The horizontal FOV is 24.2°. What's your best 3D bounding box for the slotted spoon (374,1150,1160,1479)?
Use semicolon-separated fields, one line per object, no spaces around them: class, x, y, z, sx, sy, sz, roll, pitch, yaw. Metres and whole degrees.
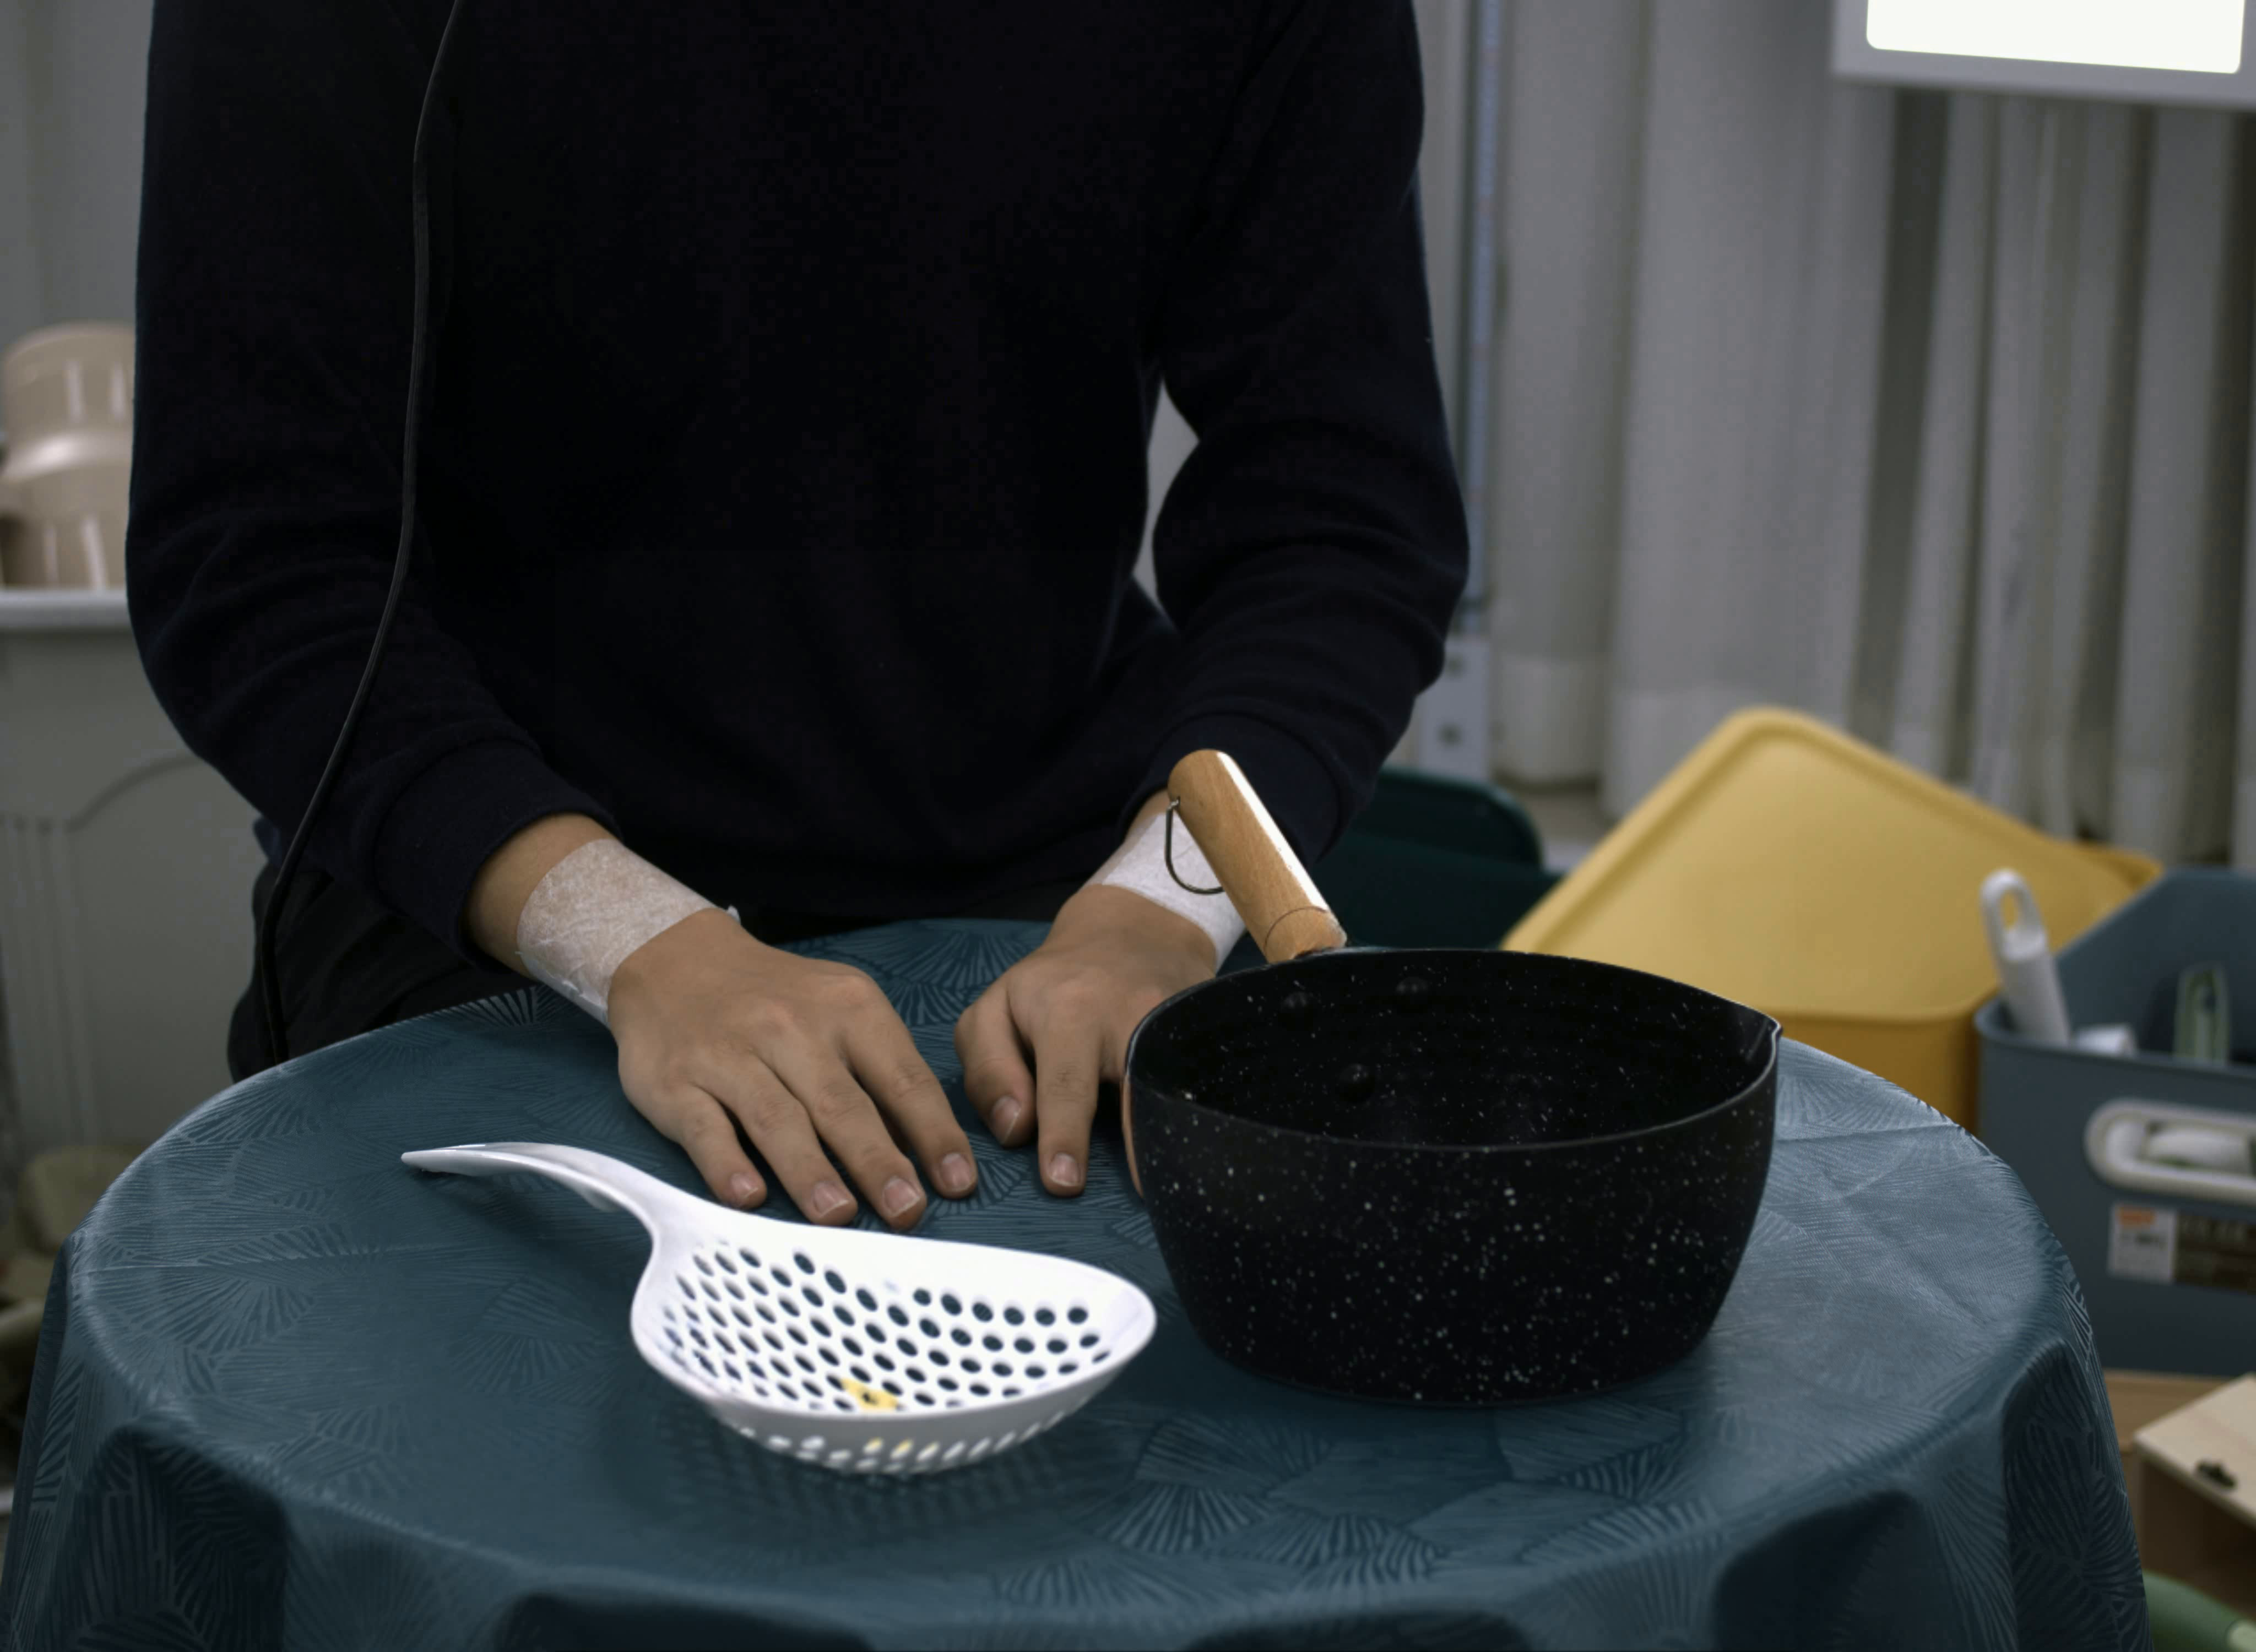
slotted spoon;-0.123;0.124;1.497;0.137;0.051;0.343;-13;22;-33

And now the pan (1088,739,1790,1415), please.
pan;0.069;0.069;1.577;0.208;0.109;0.339;-6;18;-17
